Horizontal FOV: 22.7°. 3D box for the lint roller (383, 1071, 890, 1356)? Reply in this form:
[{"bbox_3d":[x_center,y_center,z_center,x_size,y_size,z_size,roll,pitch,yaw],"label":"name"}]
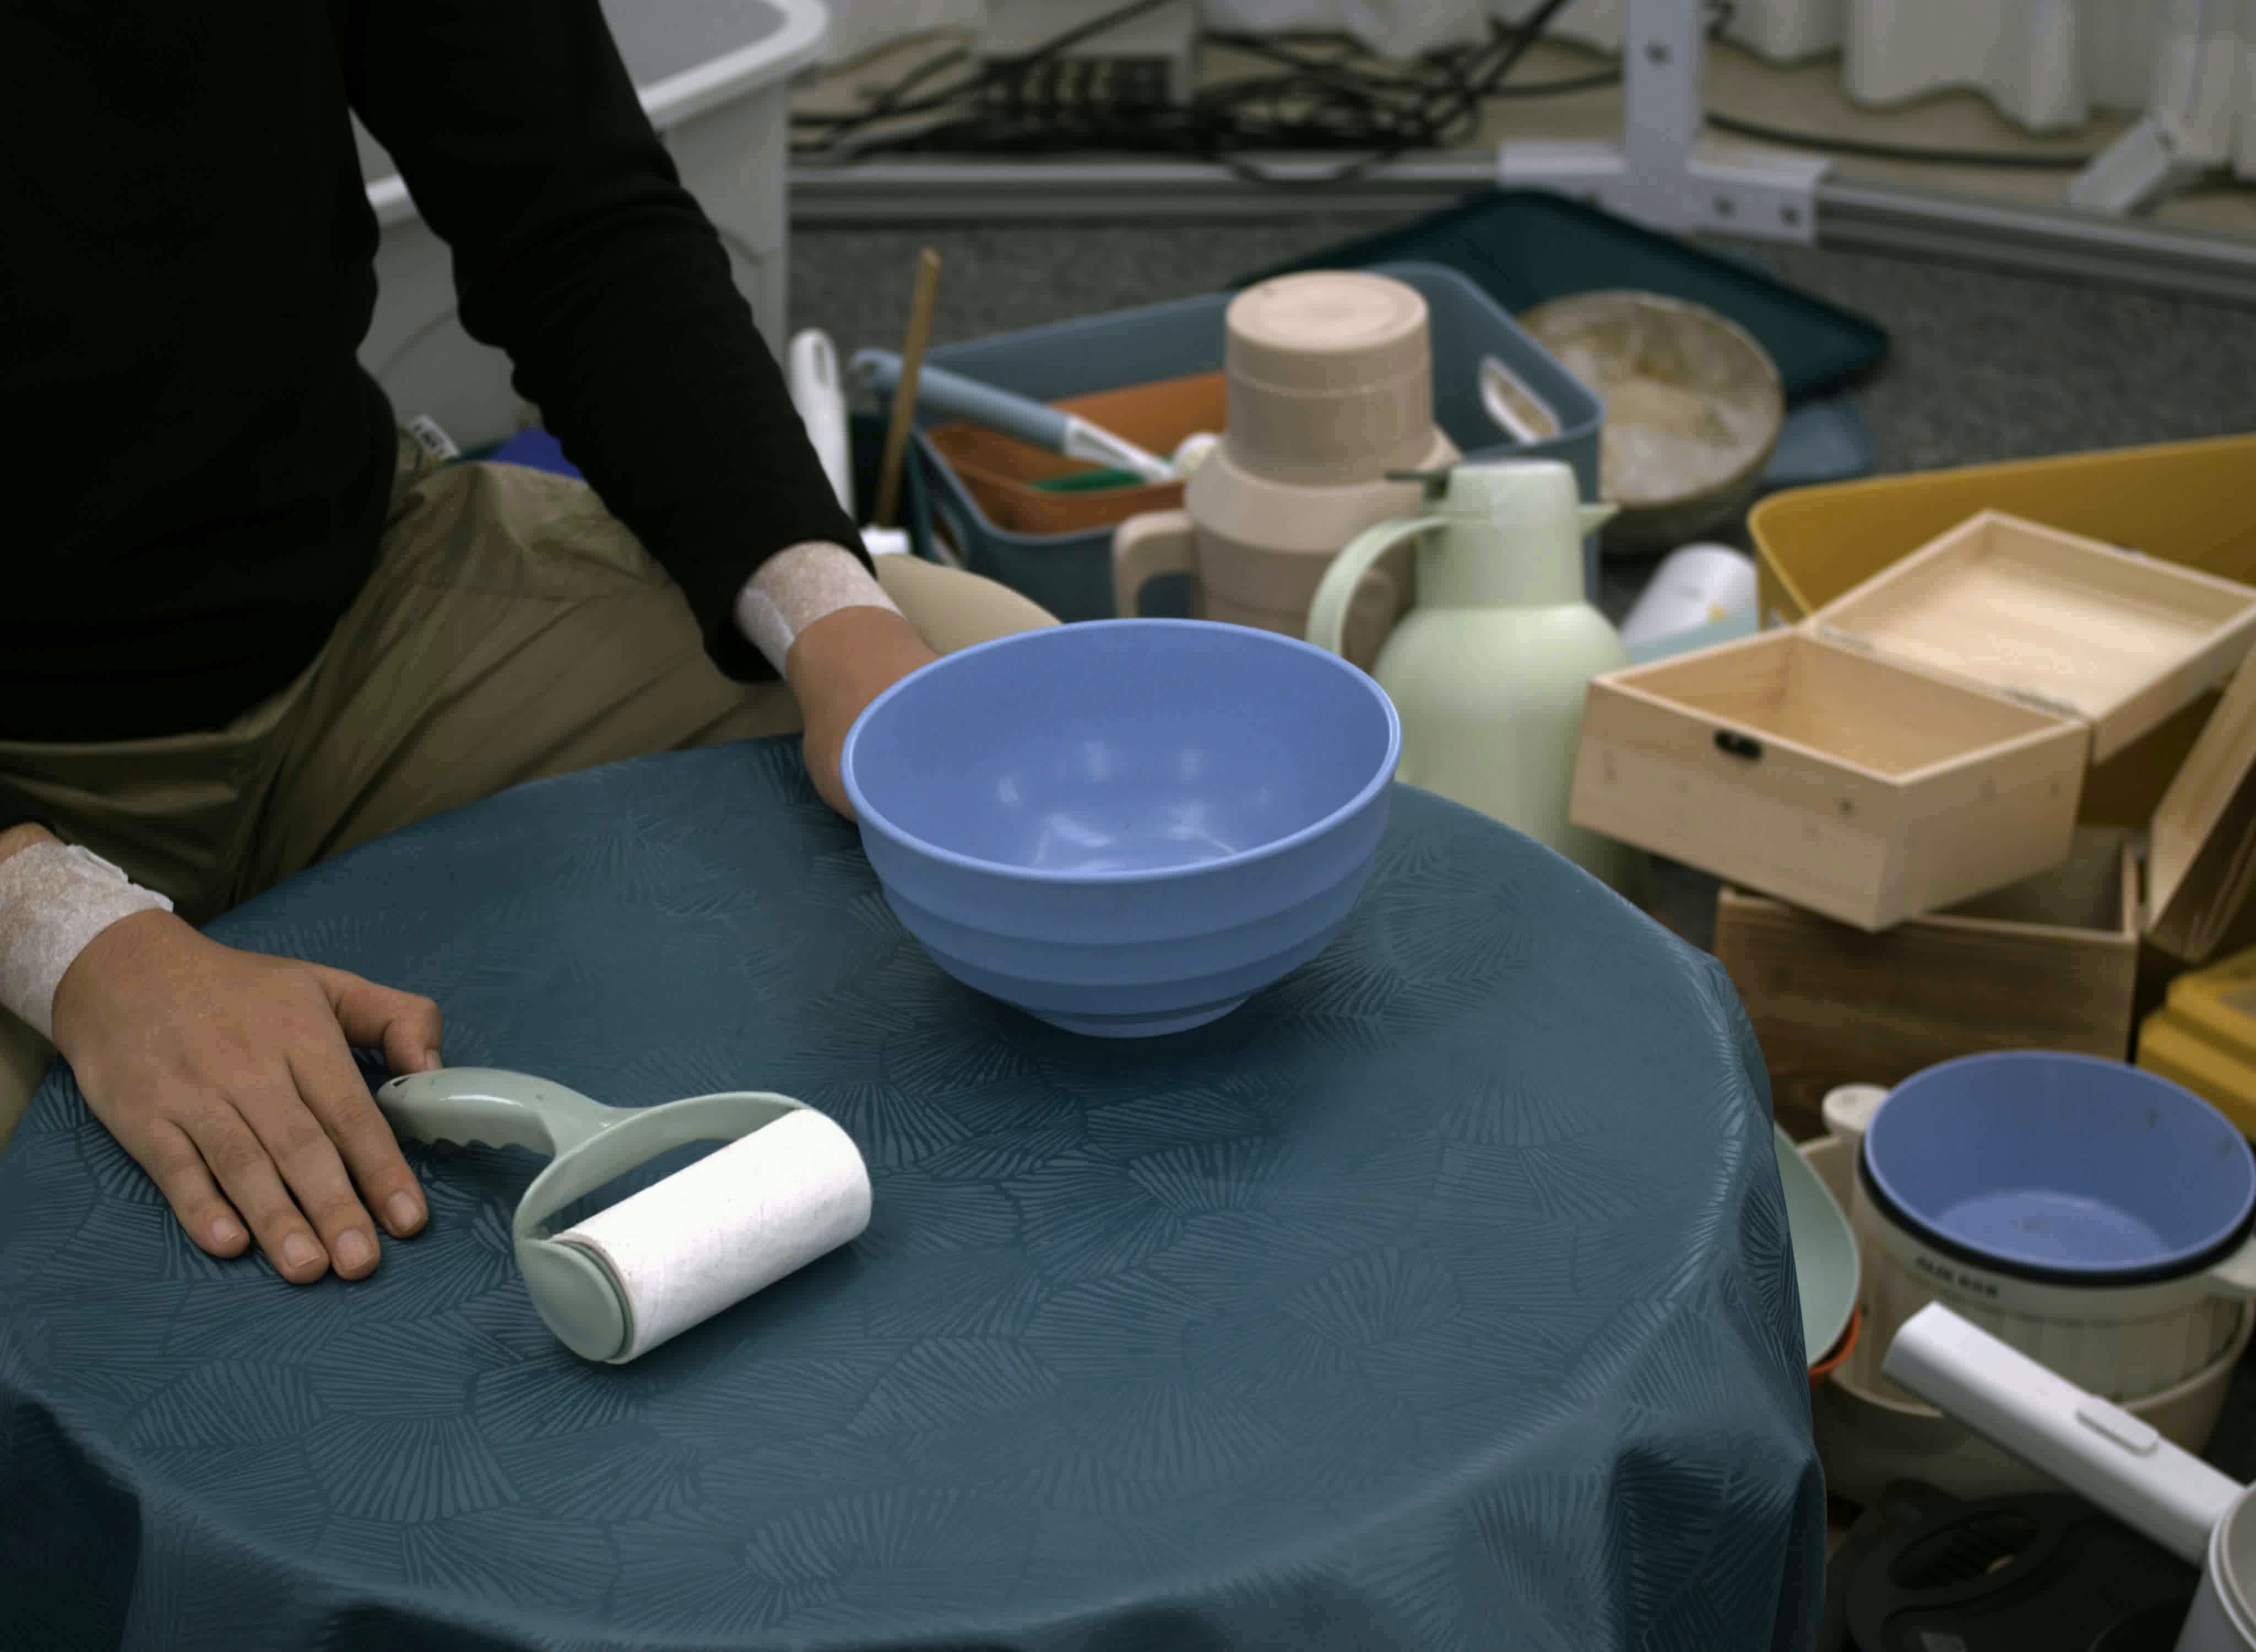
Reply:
[{"bbox_3d":[-0.180,0.109,1.857,0.118,0.048,0.197,-28,35,-37],"label":"lint roller"}]

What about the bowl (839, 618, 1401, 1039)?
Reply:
[{"bbox_3d":[0.000,0.011,1.972,0.195,0.094,0.199,-3,28,2],"label":"bowl"}]
